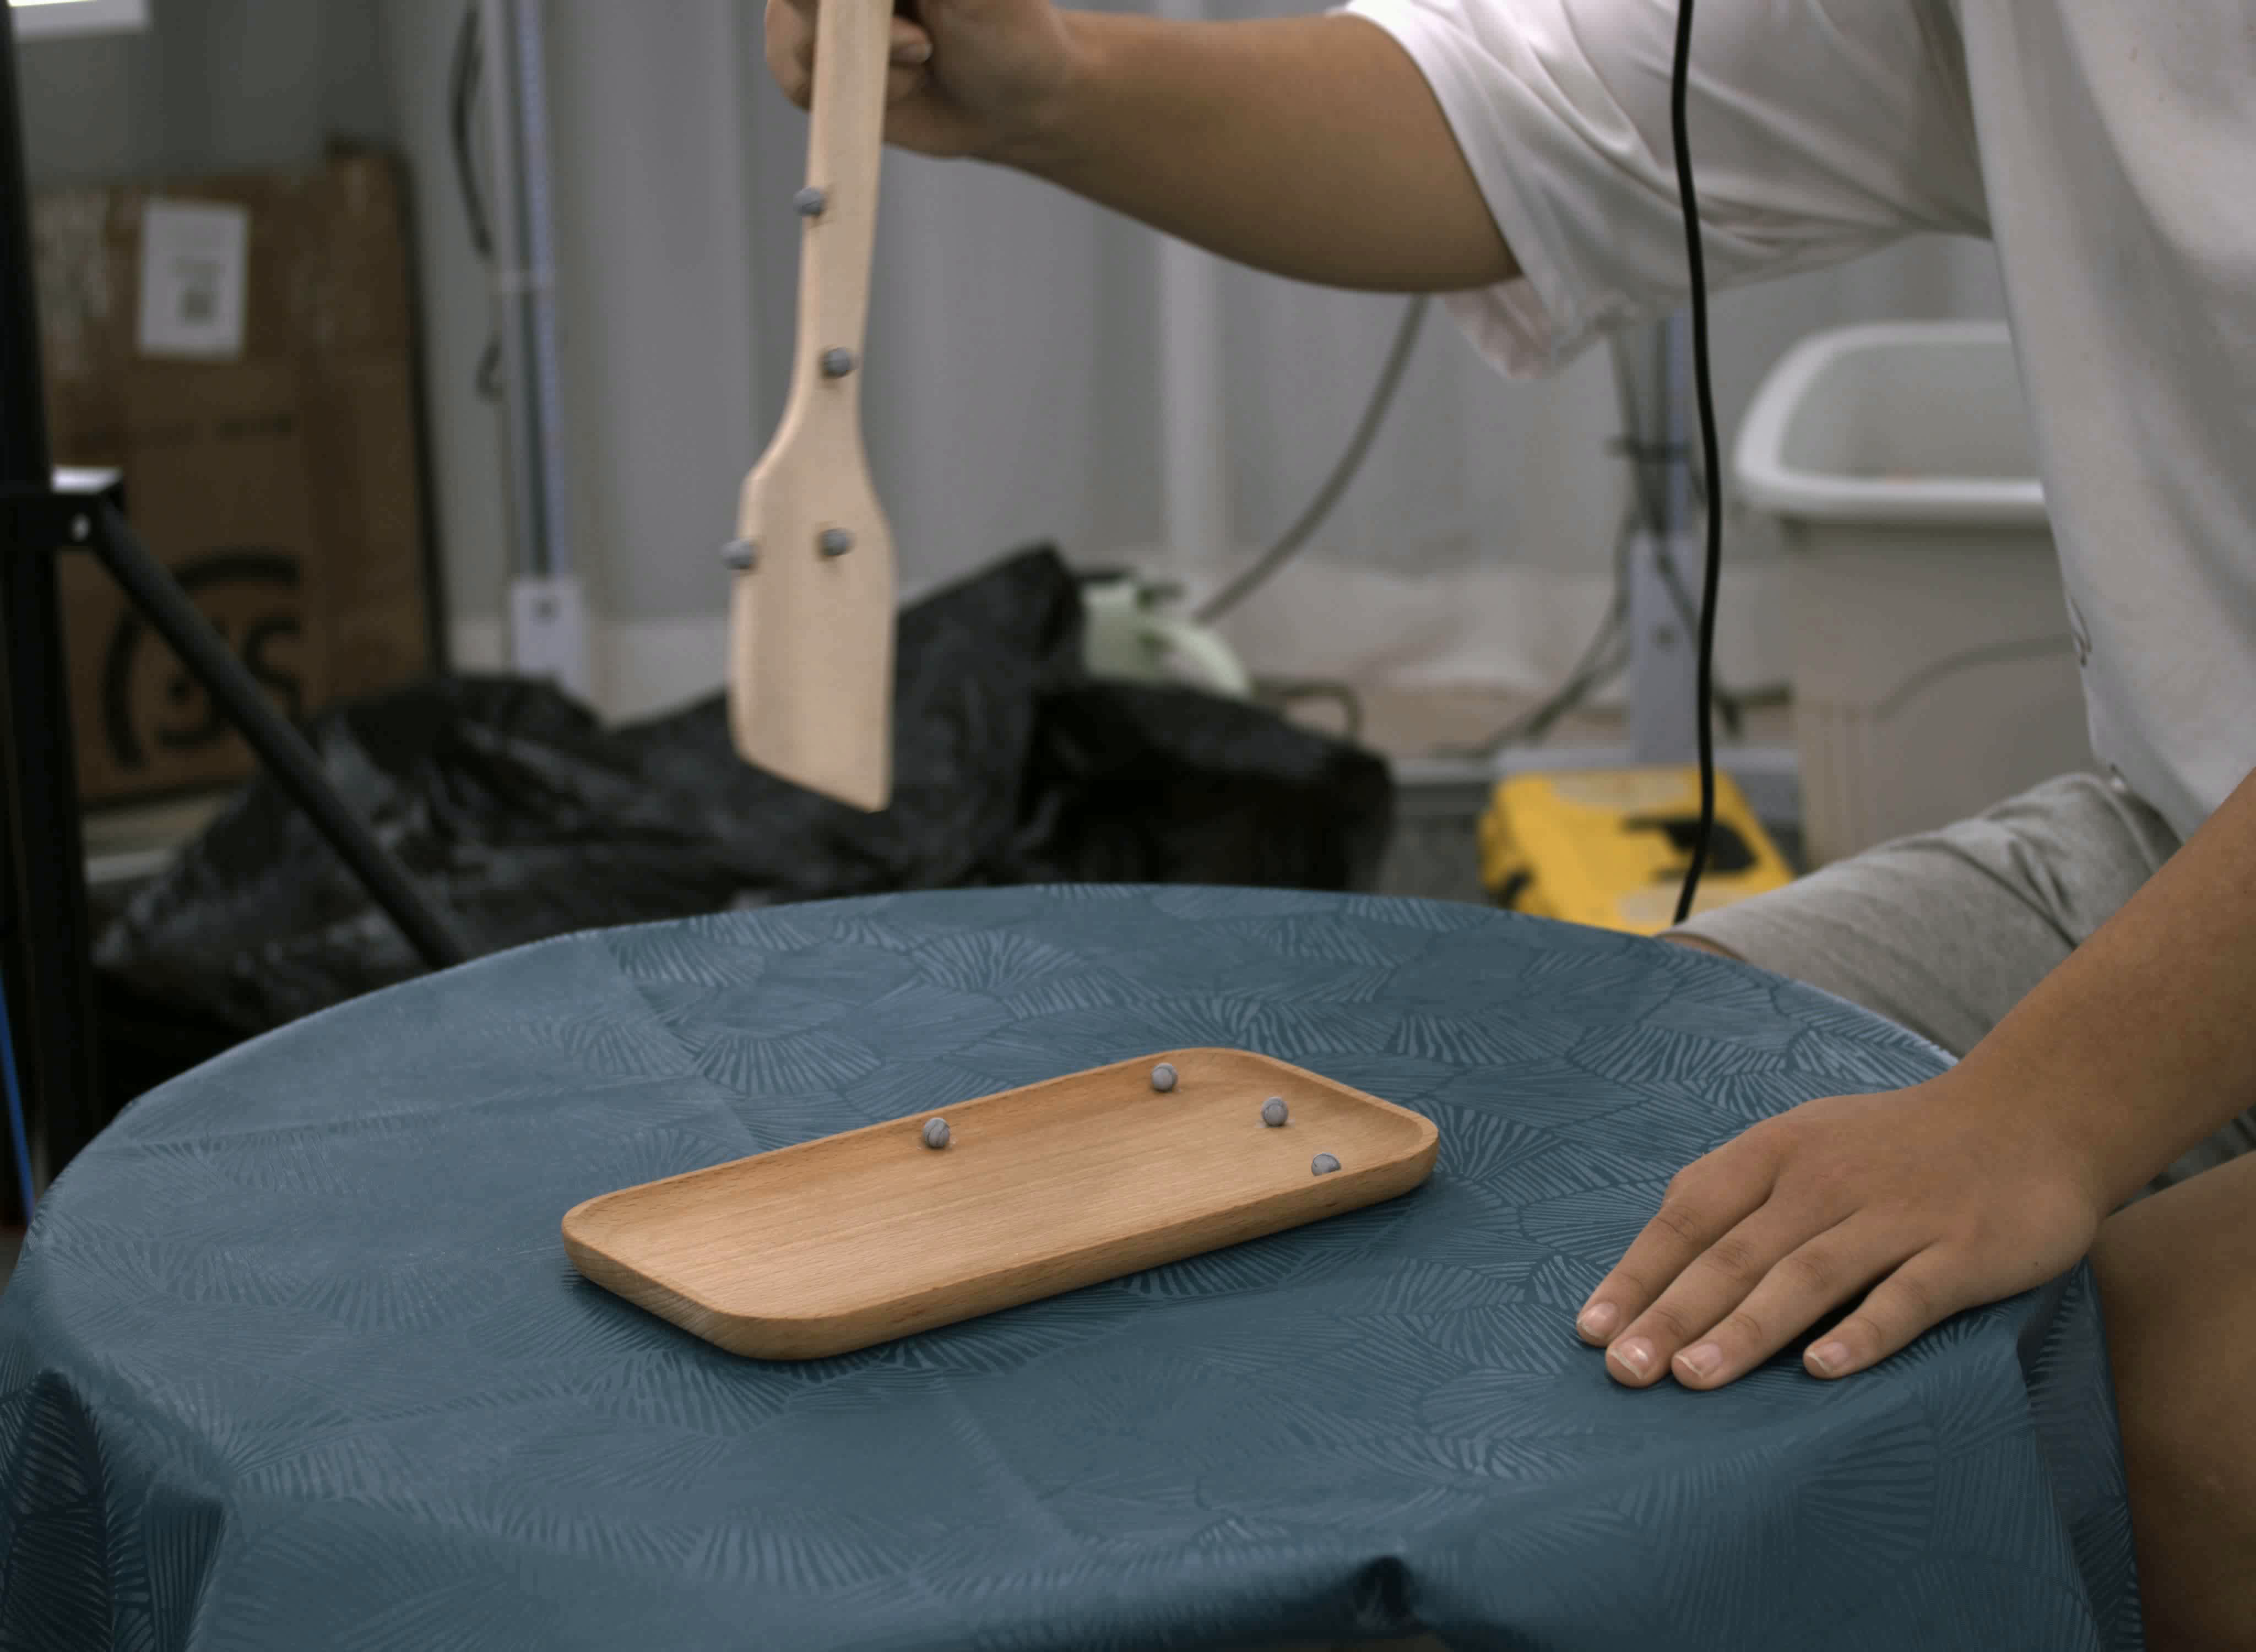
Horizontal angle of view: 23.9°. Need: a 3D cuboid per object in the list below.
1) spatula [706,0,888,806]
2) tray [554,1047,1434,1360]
[{"bbox_3d":[-0.090,-0.154,1.566,0.011,0.295,0.070,-5,-17,33],"label":"spatula"},{"bbox_3d":[-0.036,0.107,1.538,0.245,0.023,0.133,-13,17,-32],"label":"tray"}]
